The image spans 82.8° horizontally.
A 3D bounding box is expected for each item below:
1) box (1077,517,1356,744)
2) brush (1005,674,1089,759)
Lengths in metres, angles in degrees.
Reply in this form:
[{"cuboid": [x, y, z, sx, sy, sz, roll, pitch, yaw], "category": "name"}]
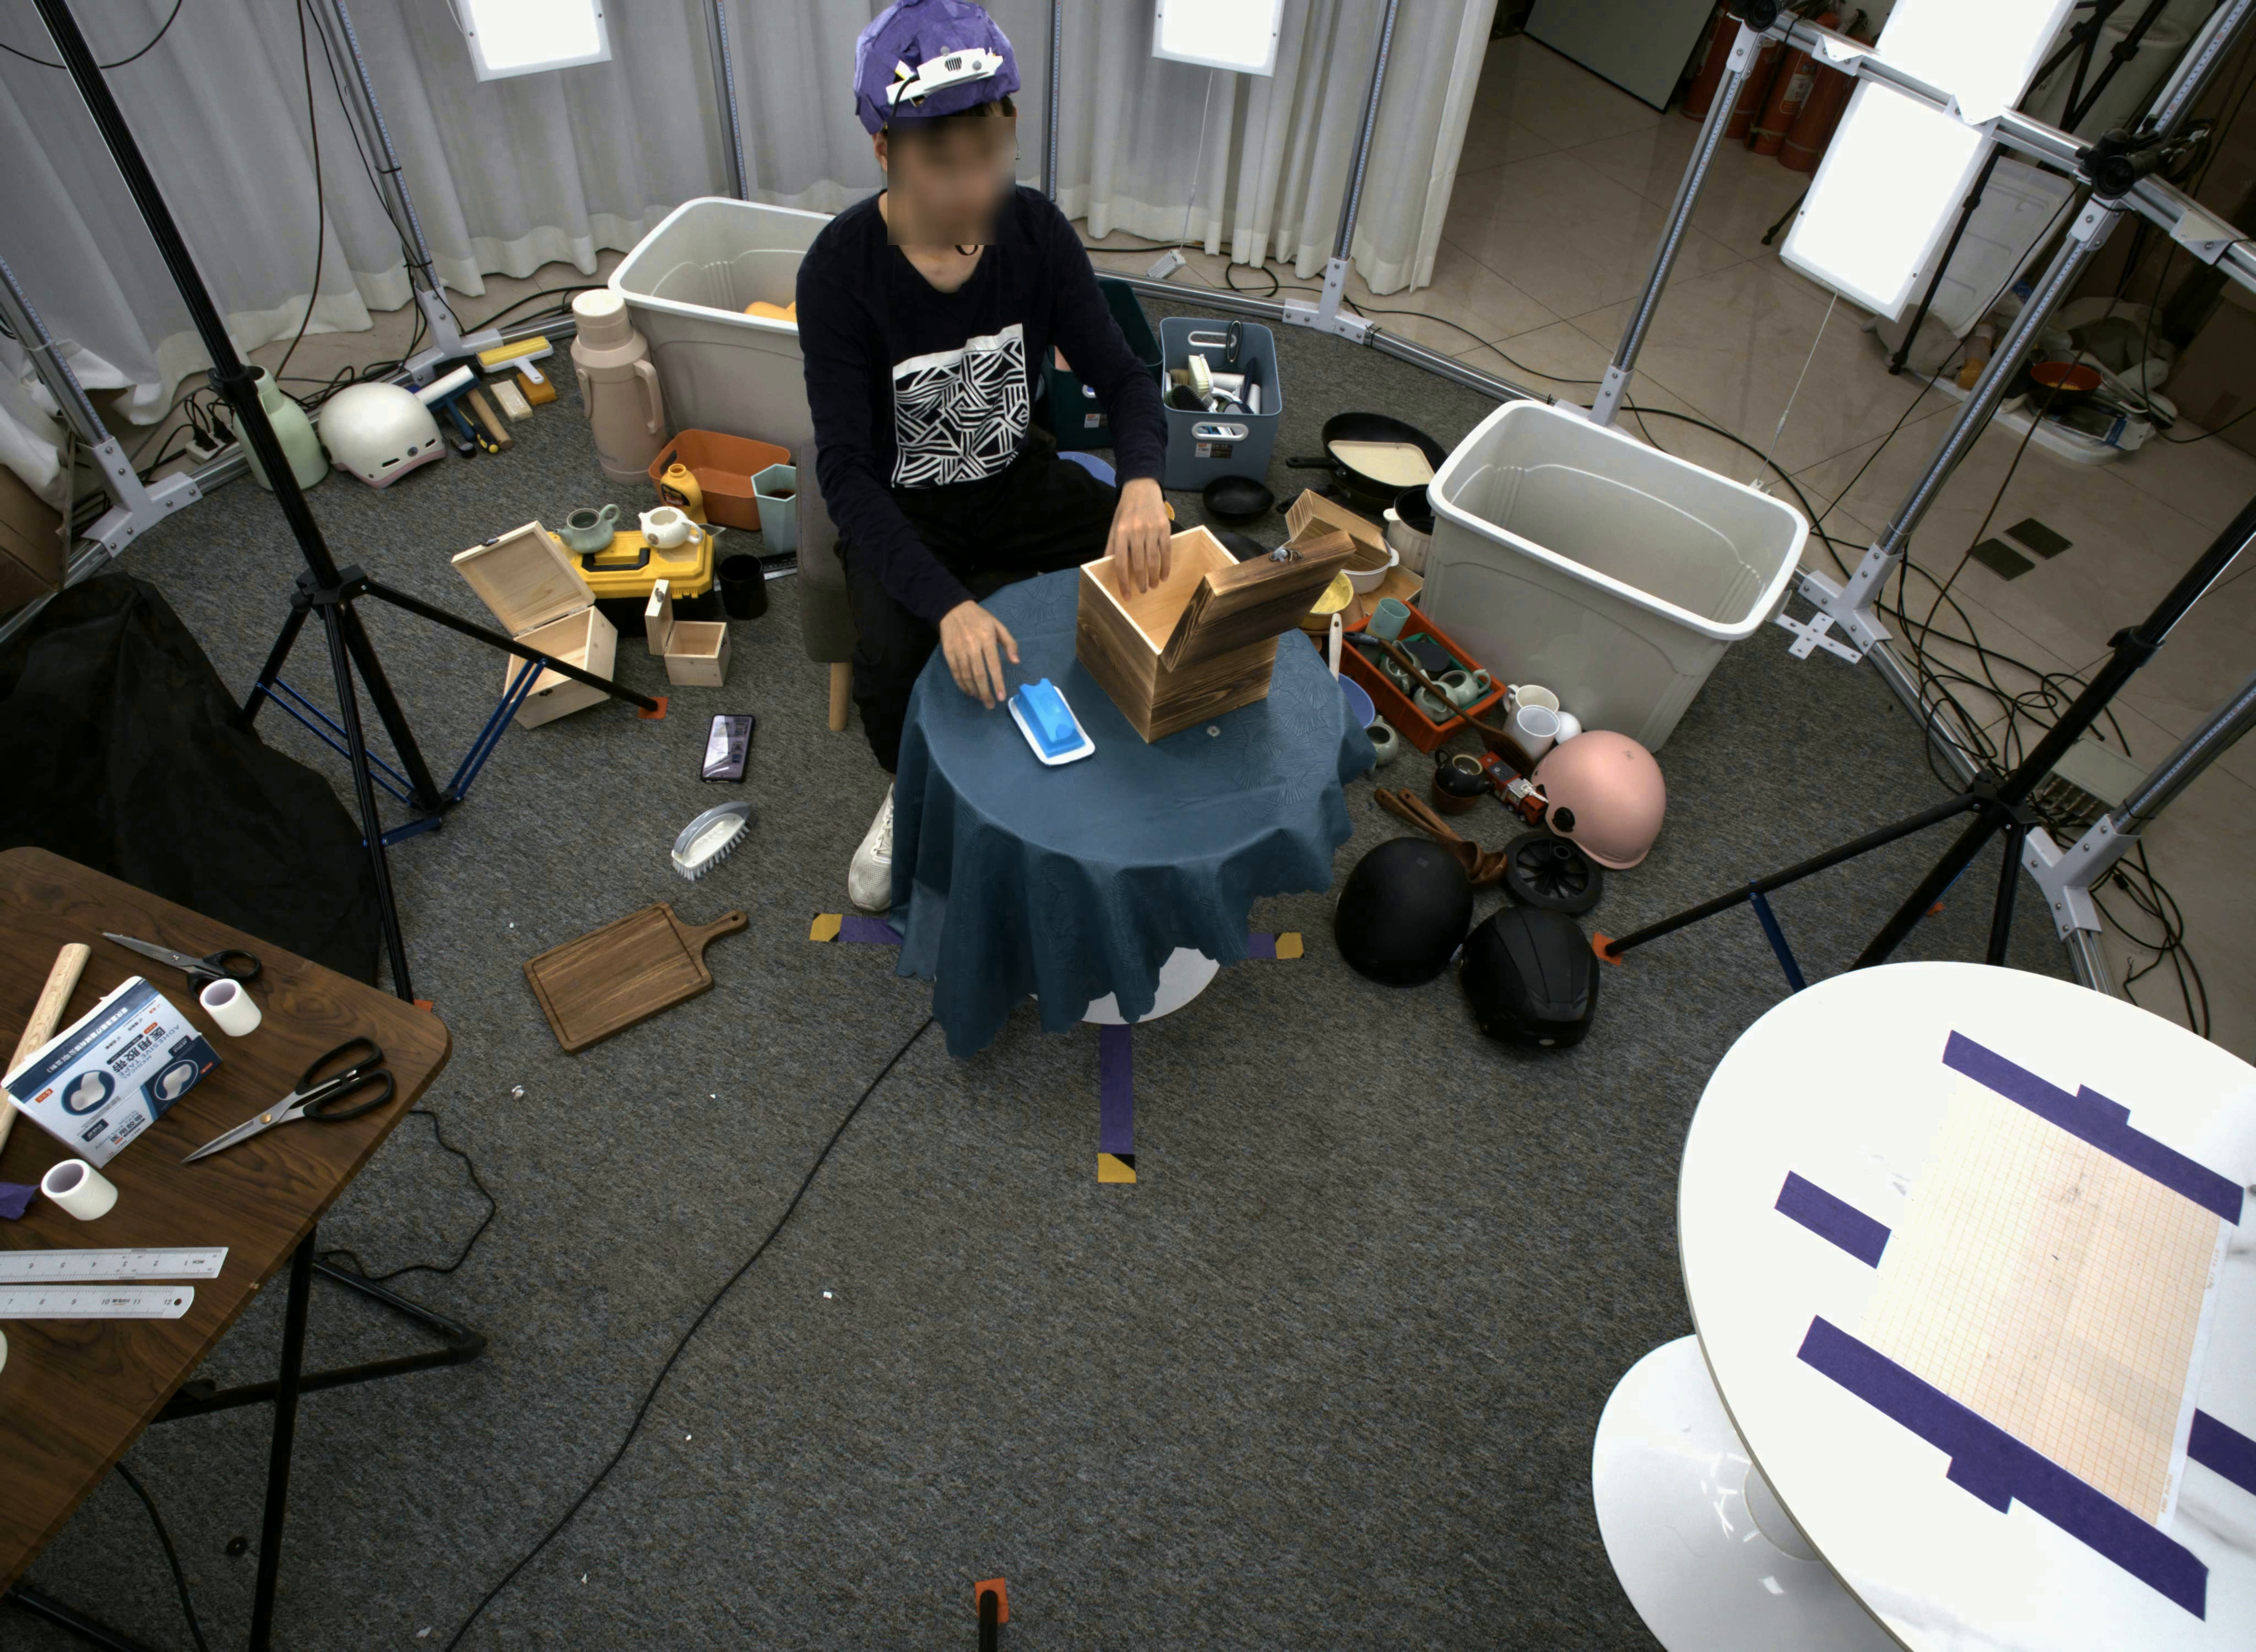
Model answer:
[{"cuboid": [0.100, -0.298, 1.700, 0.209, 0.366, 0.329, -22, 53, -22], "category": "box"}, {"cuboid": [-0.110, -0.157, 1.757, 0.084, 0.054, 0.147, -14, 53, -19], "category": "brush"}]
